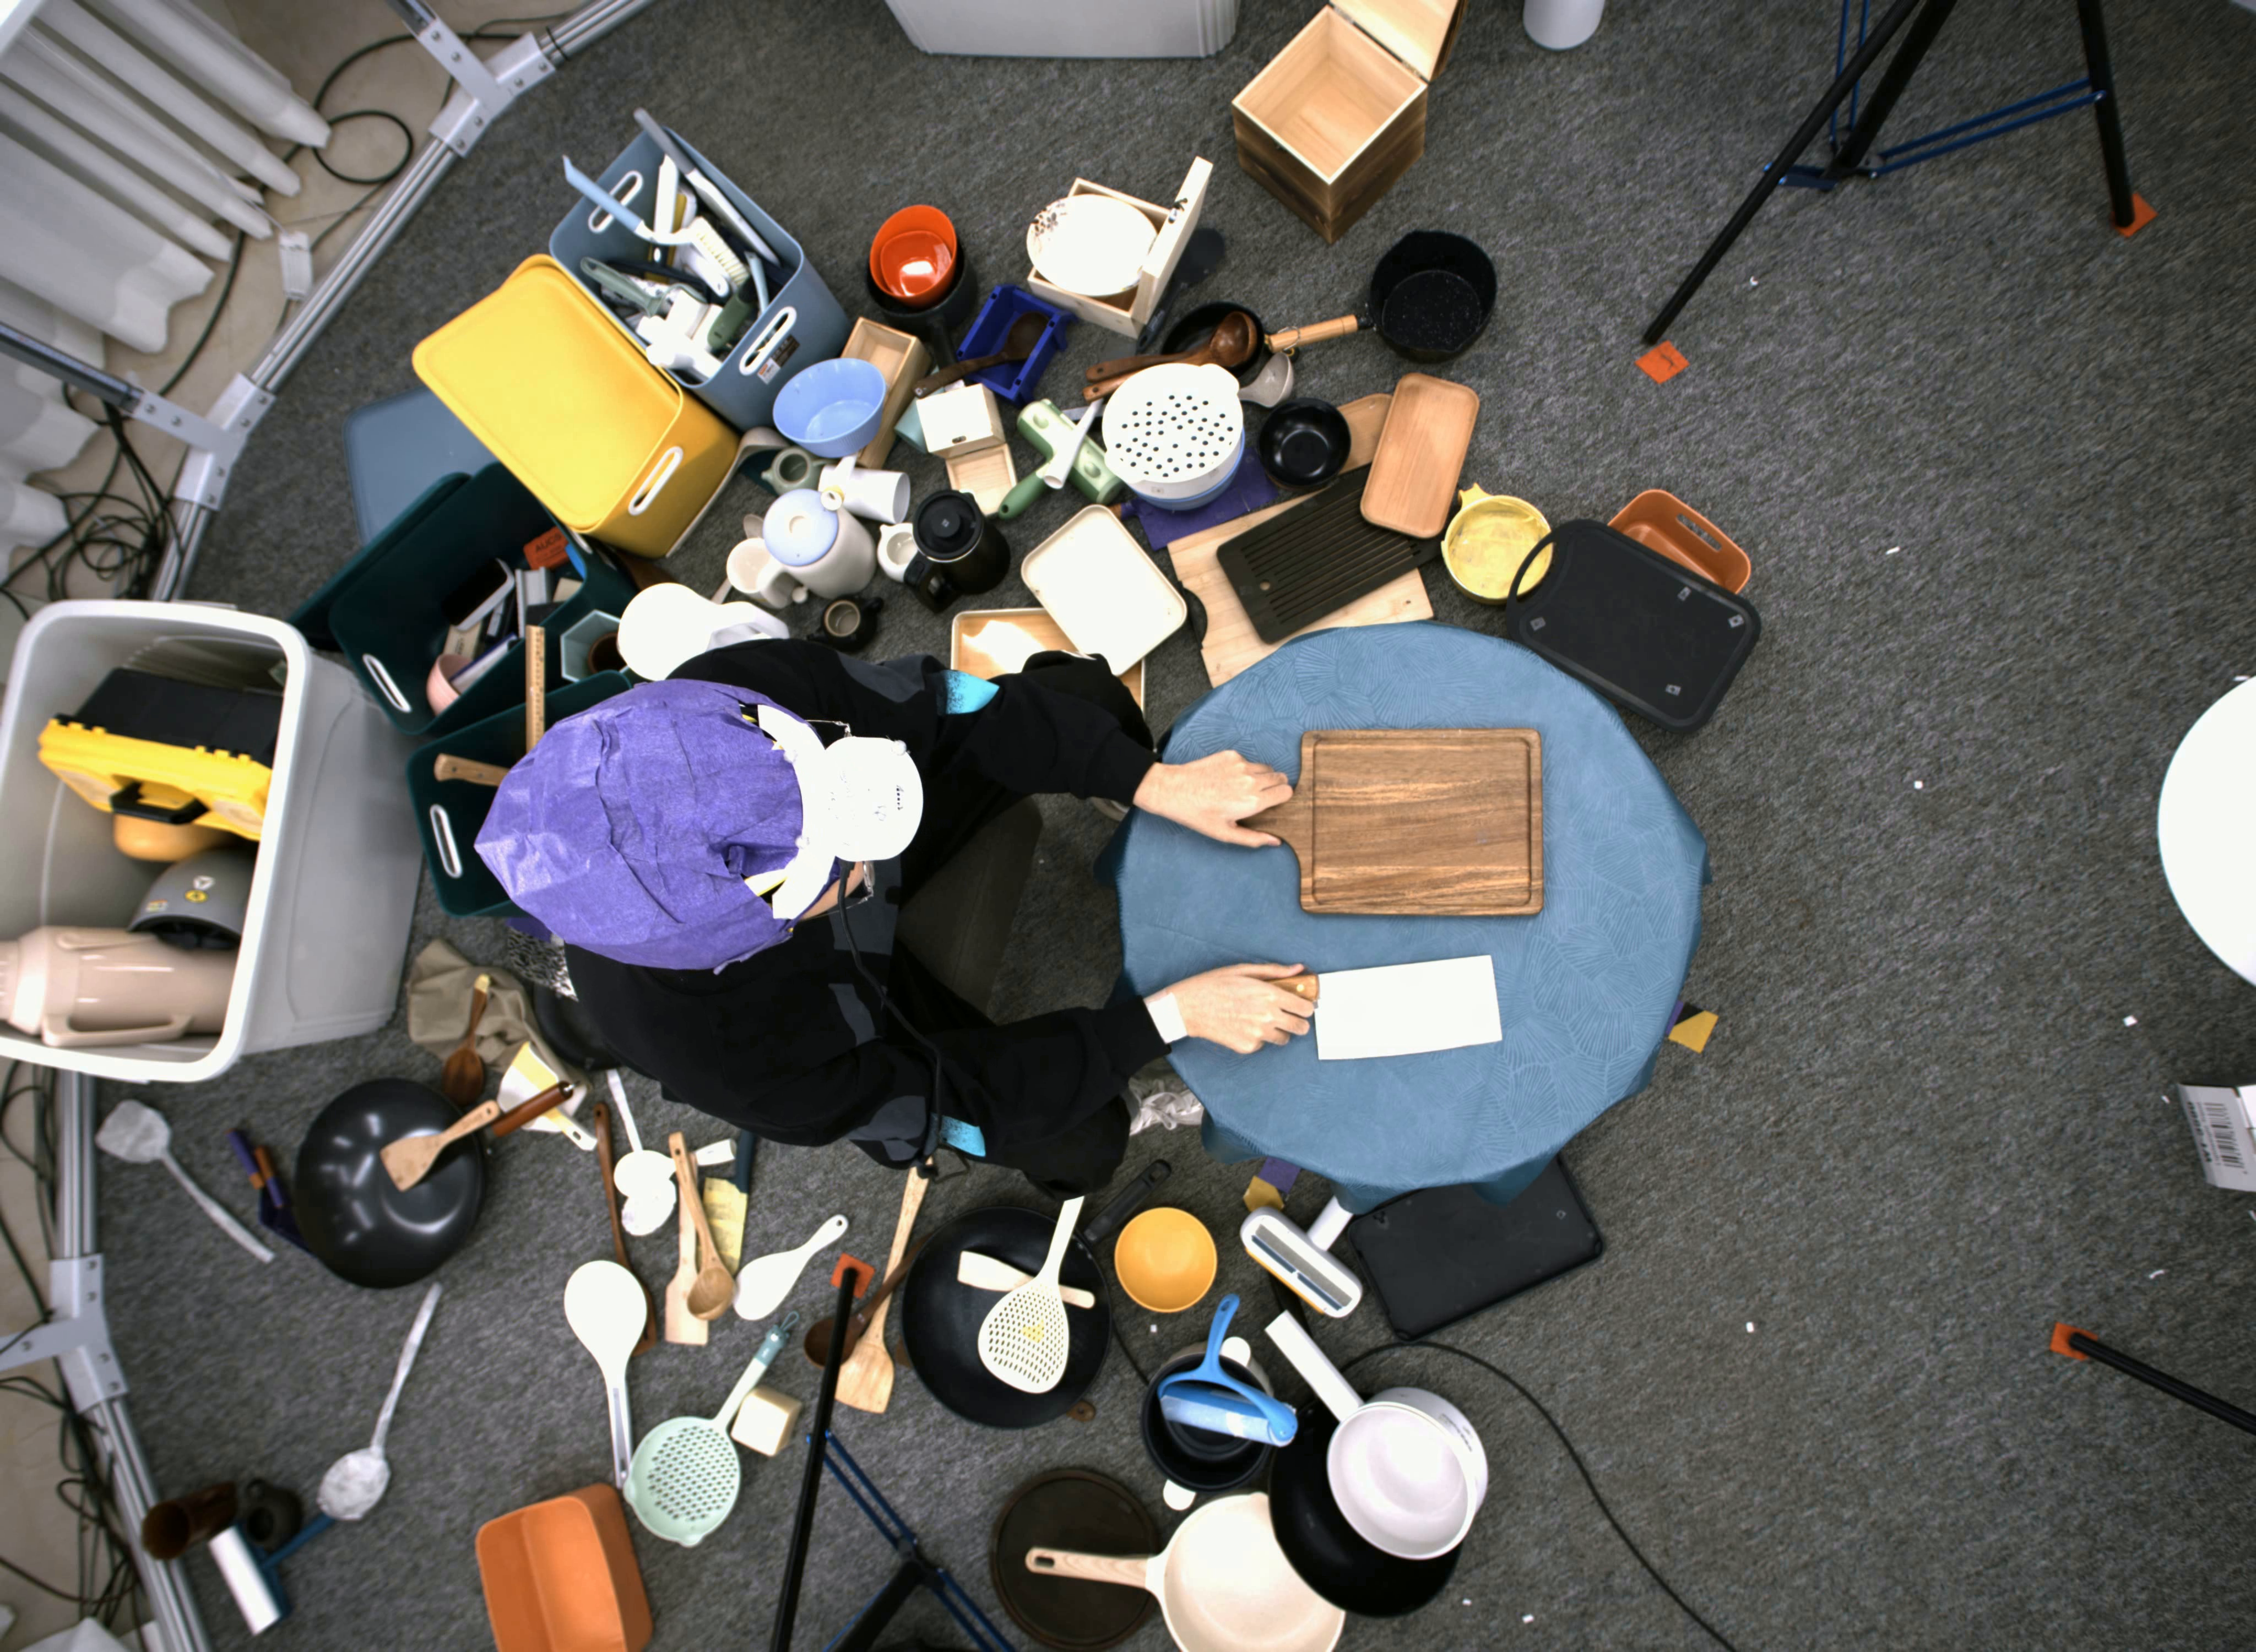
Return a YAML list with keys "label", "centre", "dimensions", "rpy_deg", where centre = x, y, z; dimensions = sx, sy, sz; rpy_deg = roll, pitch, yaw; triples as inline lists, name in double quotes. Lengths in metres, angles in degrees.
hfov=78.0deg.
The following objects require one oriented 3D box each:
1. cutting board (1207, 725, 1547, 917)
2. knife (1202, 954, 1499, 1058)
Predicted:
- label: "cutting board"
  centre: [0.259, -0.006, 1.456]
  dimensions: [0.353, 0.023, 0.200]
  rpy_deg: [-1, 87, 11]
- label: "knife"
  centre: [0.233, 0.194, 1.453]
  dimensions: [0.307, 0.021, 0.092]
  rpy_deg: [-7, 88, 8]
